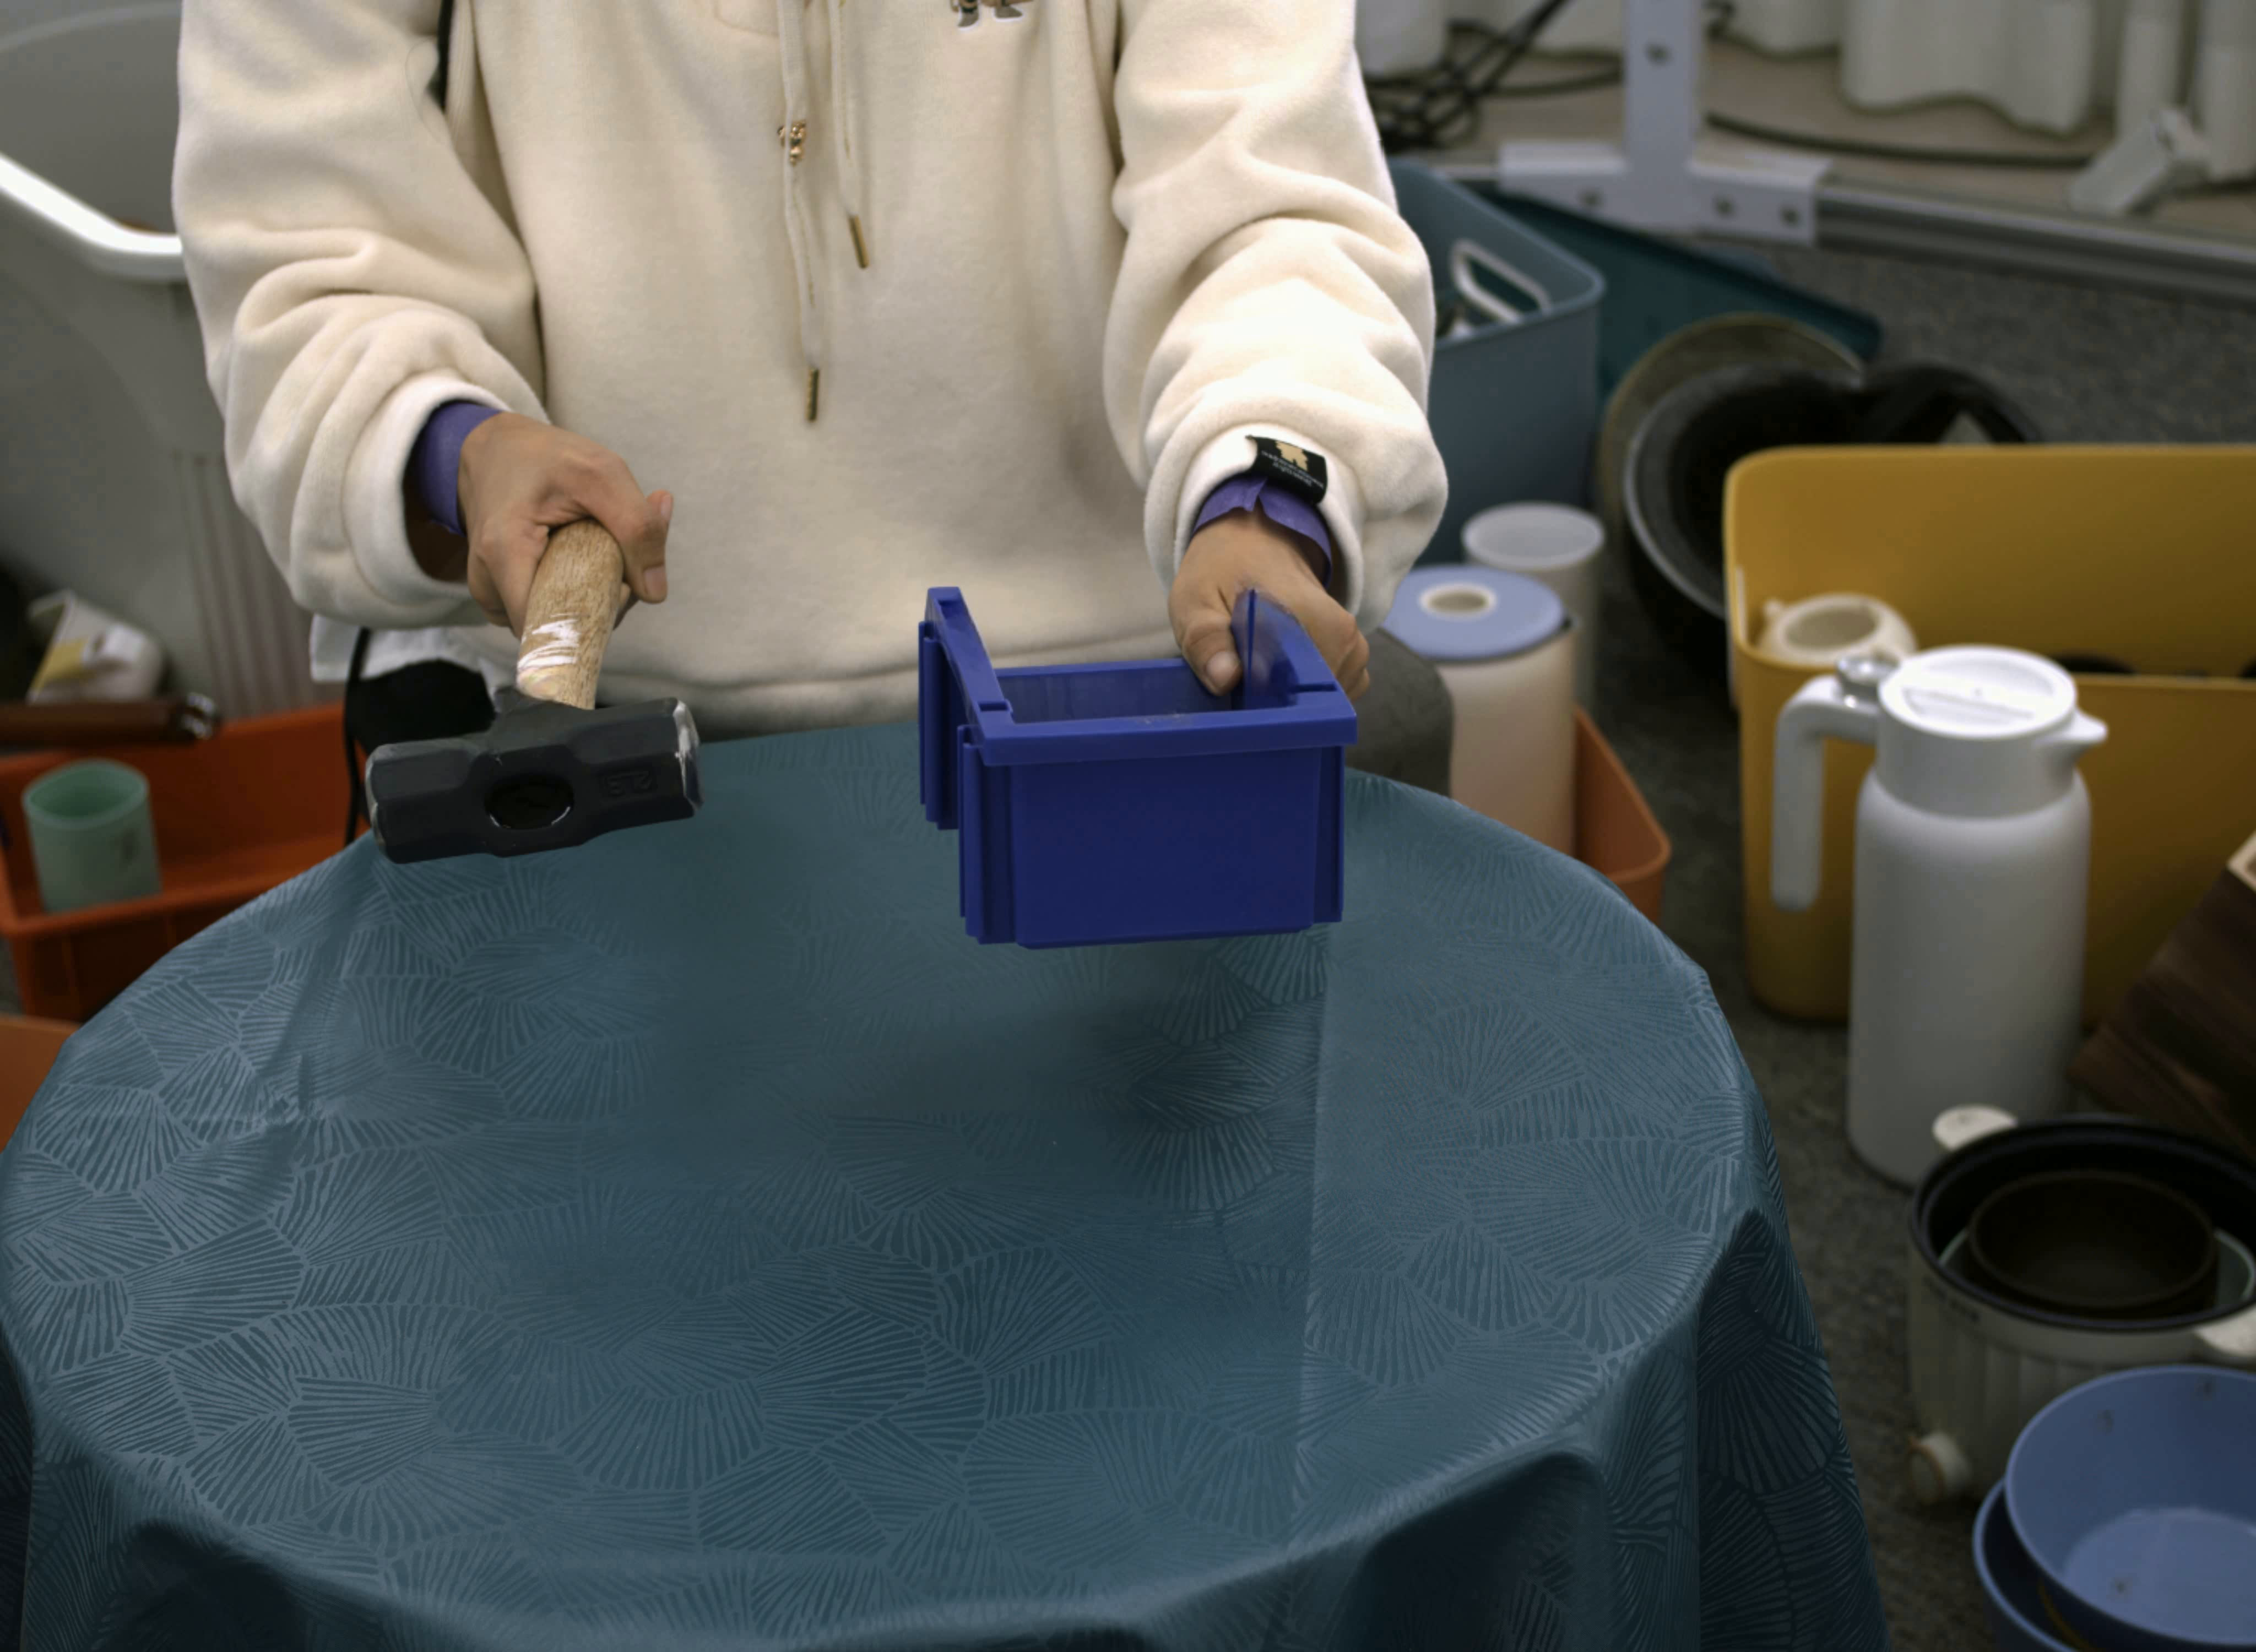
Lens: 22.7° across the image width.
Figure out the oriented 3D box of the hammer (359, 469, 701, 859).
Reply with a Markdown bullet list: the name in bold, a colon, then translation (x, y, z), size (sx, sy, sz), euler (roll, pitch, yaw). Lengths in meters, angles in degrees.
- **hammer**: translation (-0.191, -0.064, 1.944), size (0.106, 0.038, 0.309), euler (-8, 21, 4)

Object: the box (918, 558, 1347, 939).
- **box**: translation (-0.004, -0.030, 1.880), size (0.124, 0.081, 0.181), euler (-3, 23, -8)
